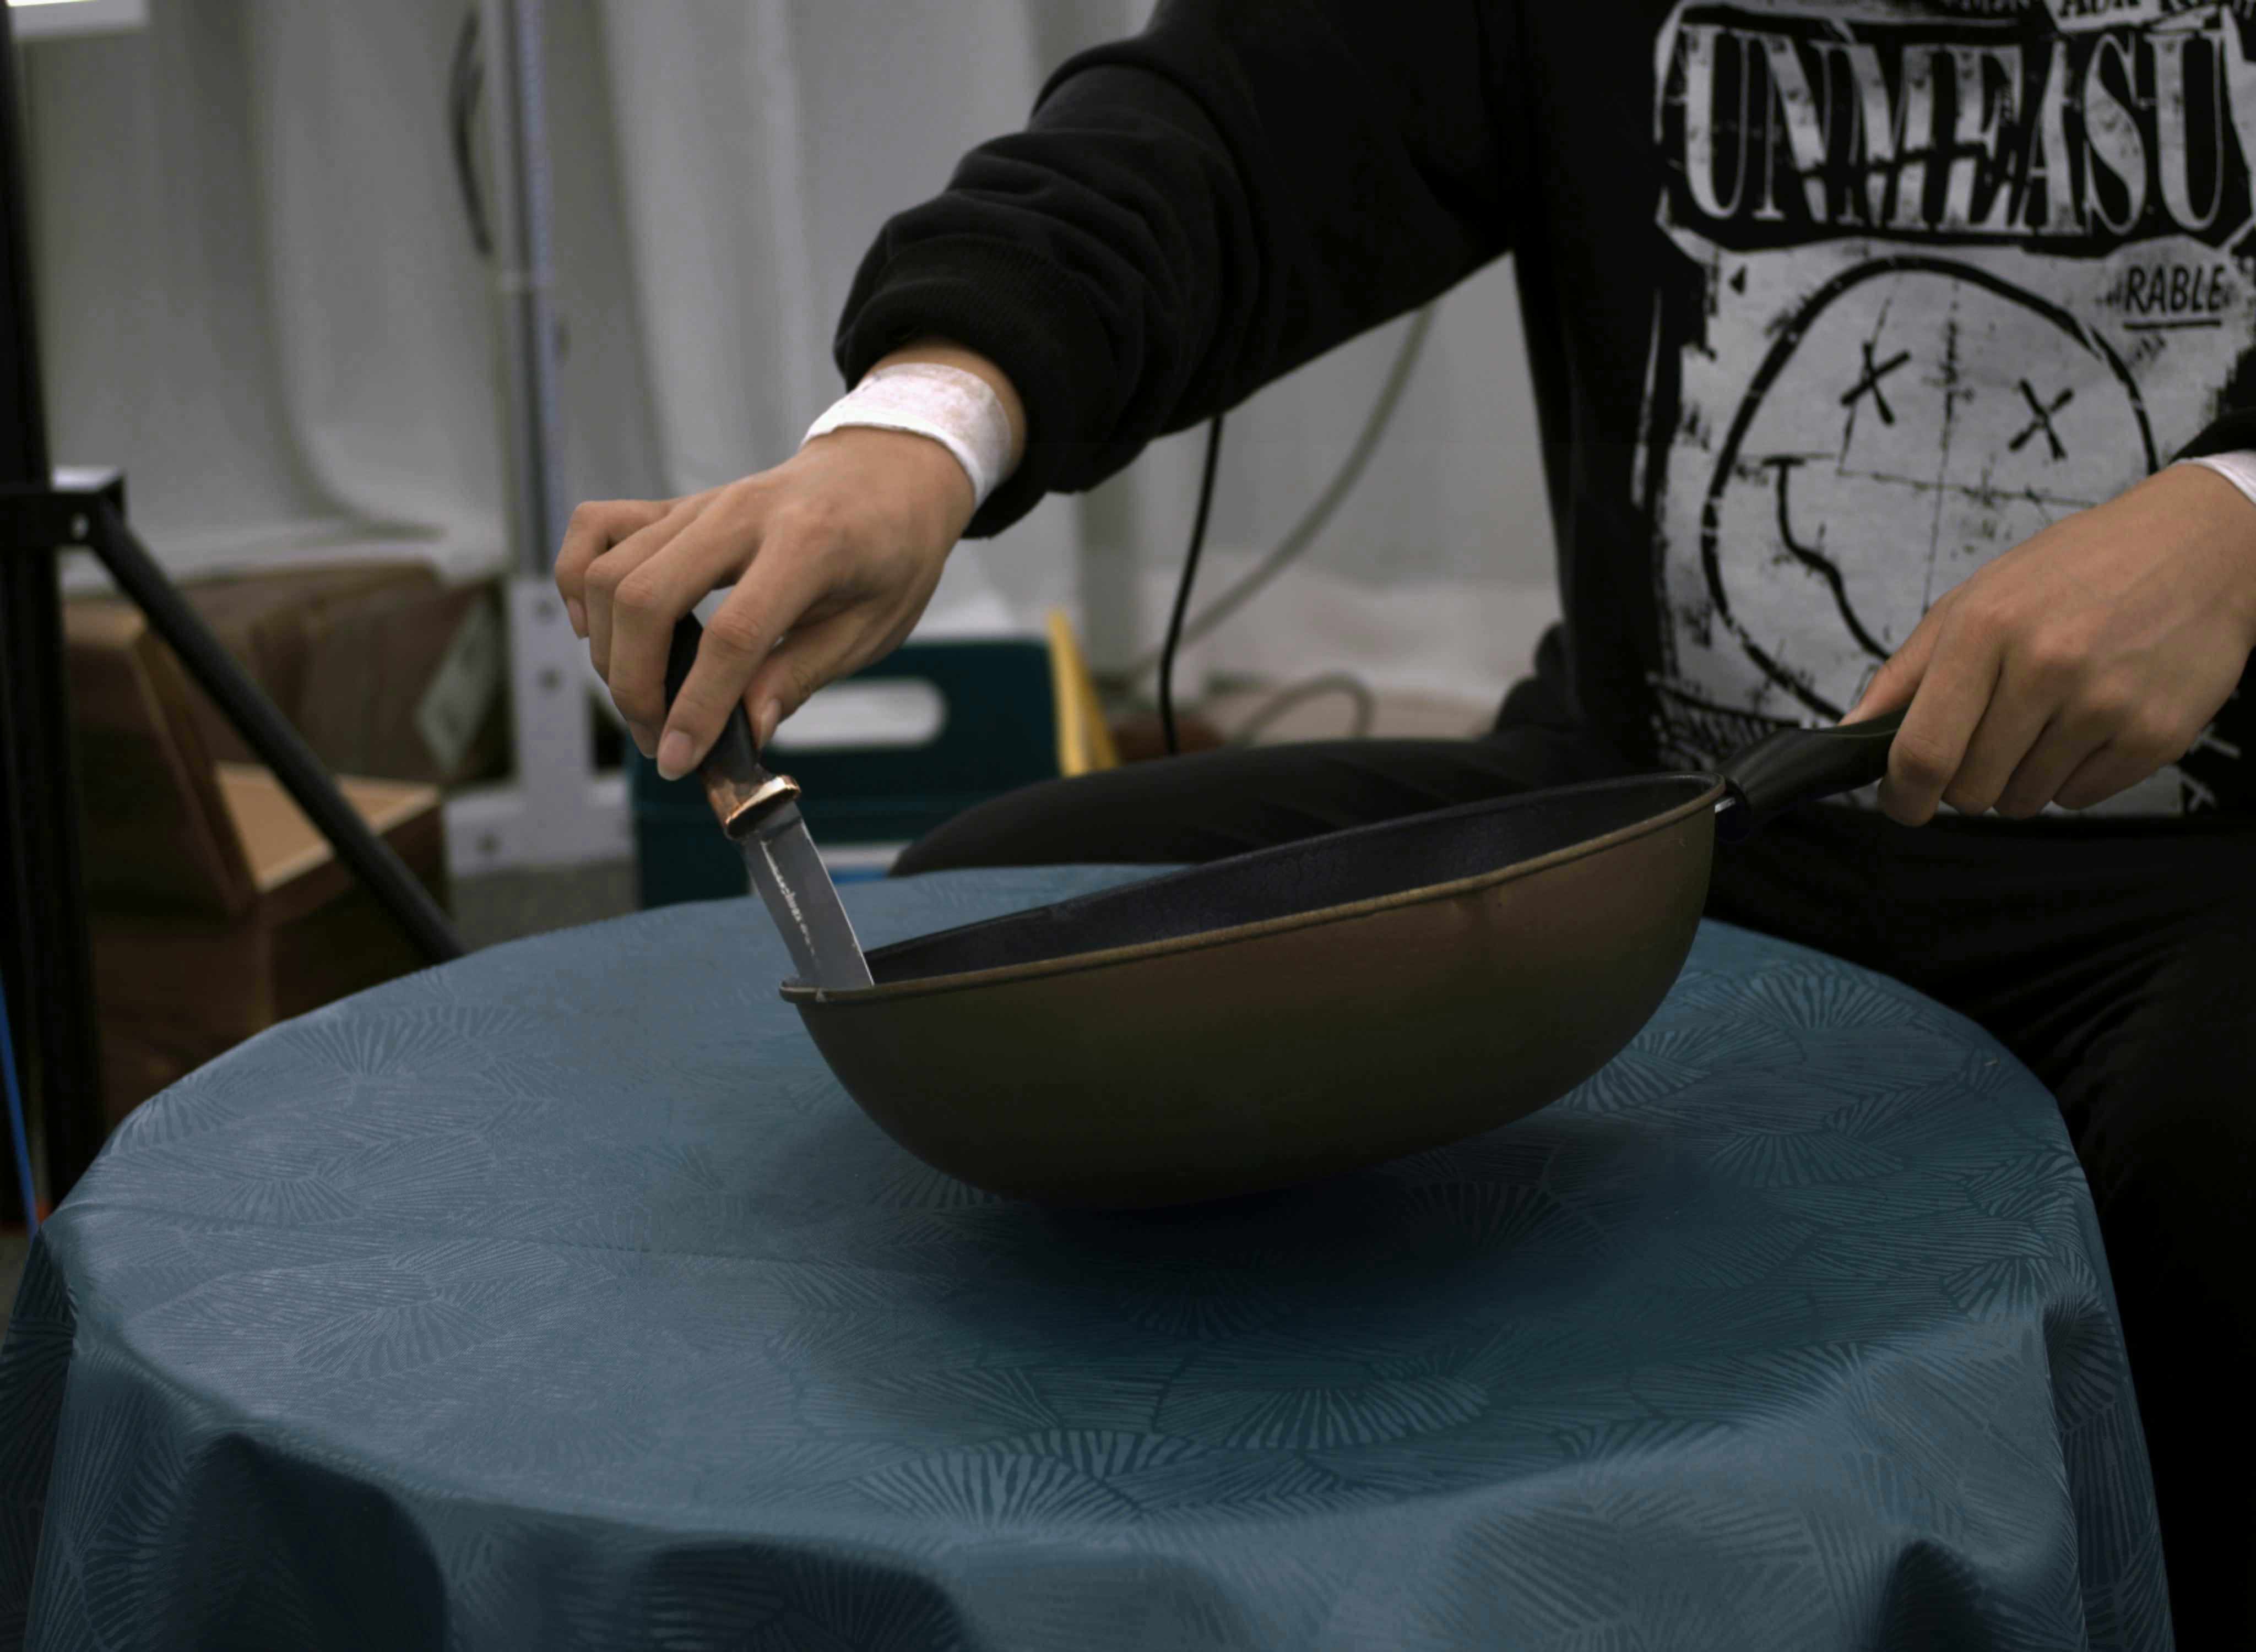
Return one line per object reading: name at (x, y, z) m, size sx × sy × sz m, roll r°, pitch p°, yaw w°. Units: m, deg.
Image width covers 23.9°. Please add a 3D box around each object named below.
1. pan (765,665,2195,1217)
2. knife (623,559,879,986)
pan at (0.122, 0.036, 1.553) m, size 0.455 × 0.087 × 0.292 m, roll -13°, pitch 3°, yaw -22°
knife at (-0.106, -0.003, 1.587) m, size 0.026 × 0.017 × 0.230 m, roll -28°, pitch 51°, yaw -2°
